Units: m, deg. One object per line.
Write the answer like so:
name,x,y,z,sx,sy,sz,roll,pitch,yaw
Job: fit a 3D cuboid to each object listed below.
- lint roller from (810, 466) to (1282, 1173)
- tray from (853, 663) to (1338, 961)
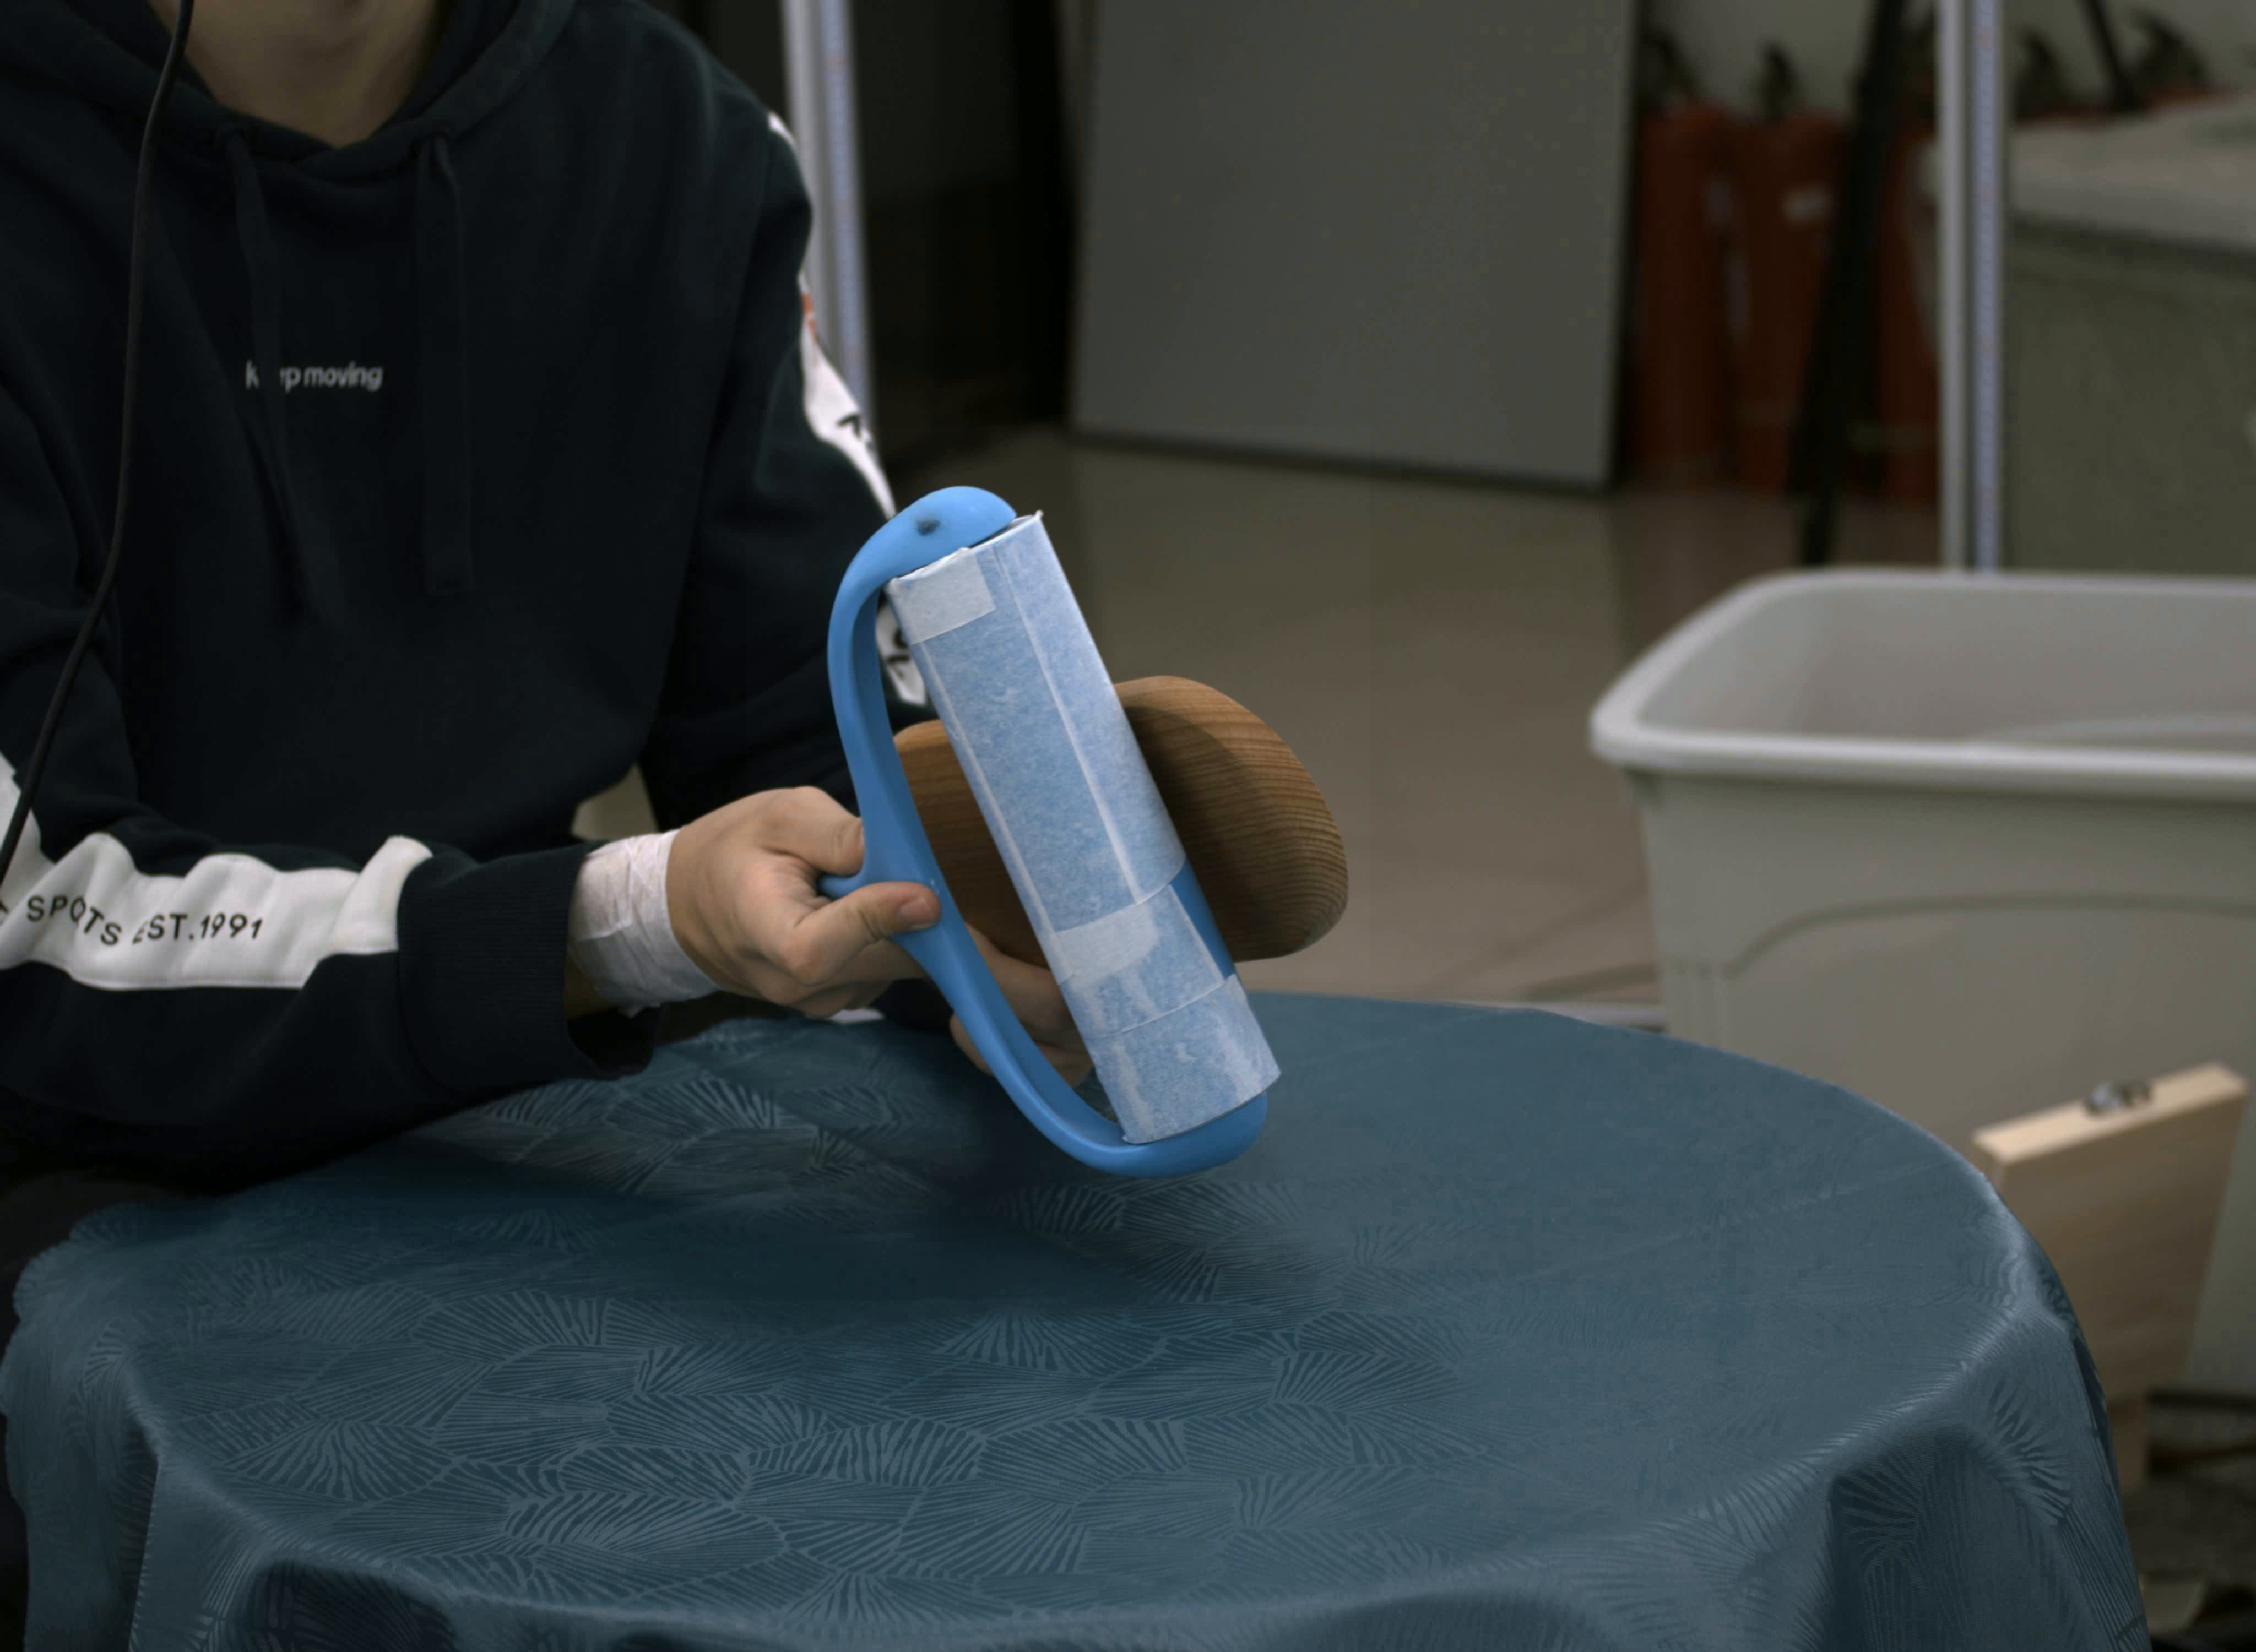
lint roller,-0.054,0.013,1.705,0.182,0.230,0.067,-21,7,46
tray,-0.015,0.003,1.735,0.020,0.102,0.233,-36,15,-34
